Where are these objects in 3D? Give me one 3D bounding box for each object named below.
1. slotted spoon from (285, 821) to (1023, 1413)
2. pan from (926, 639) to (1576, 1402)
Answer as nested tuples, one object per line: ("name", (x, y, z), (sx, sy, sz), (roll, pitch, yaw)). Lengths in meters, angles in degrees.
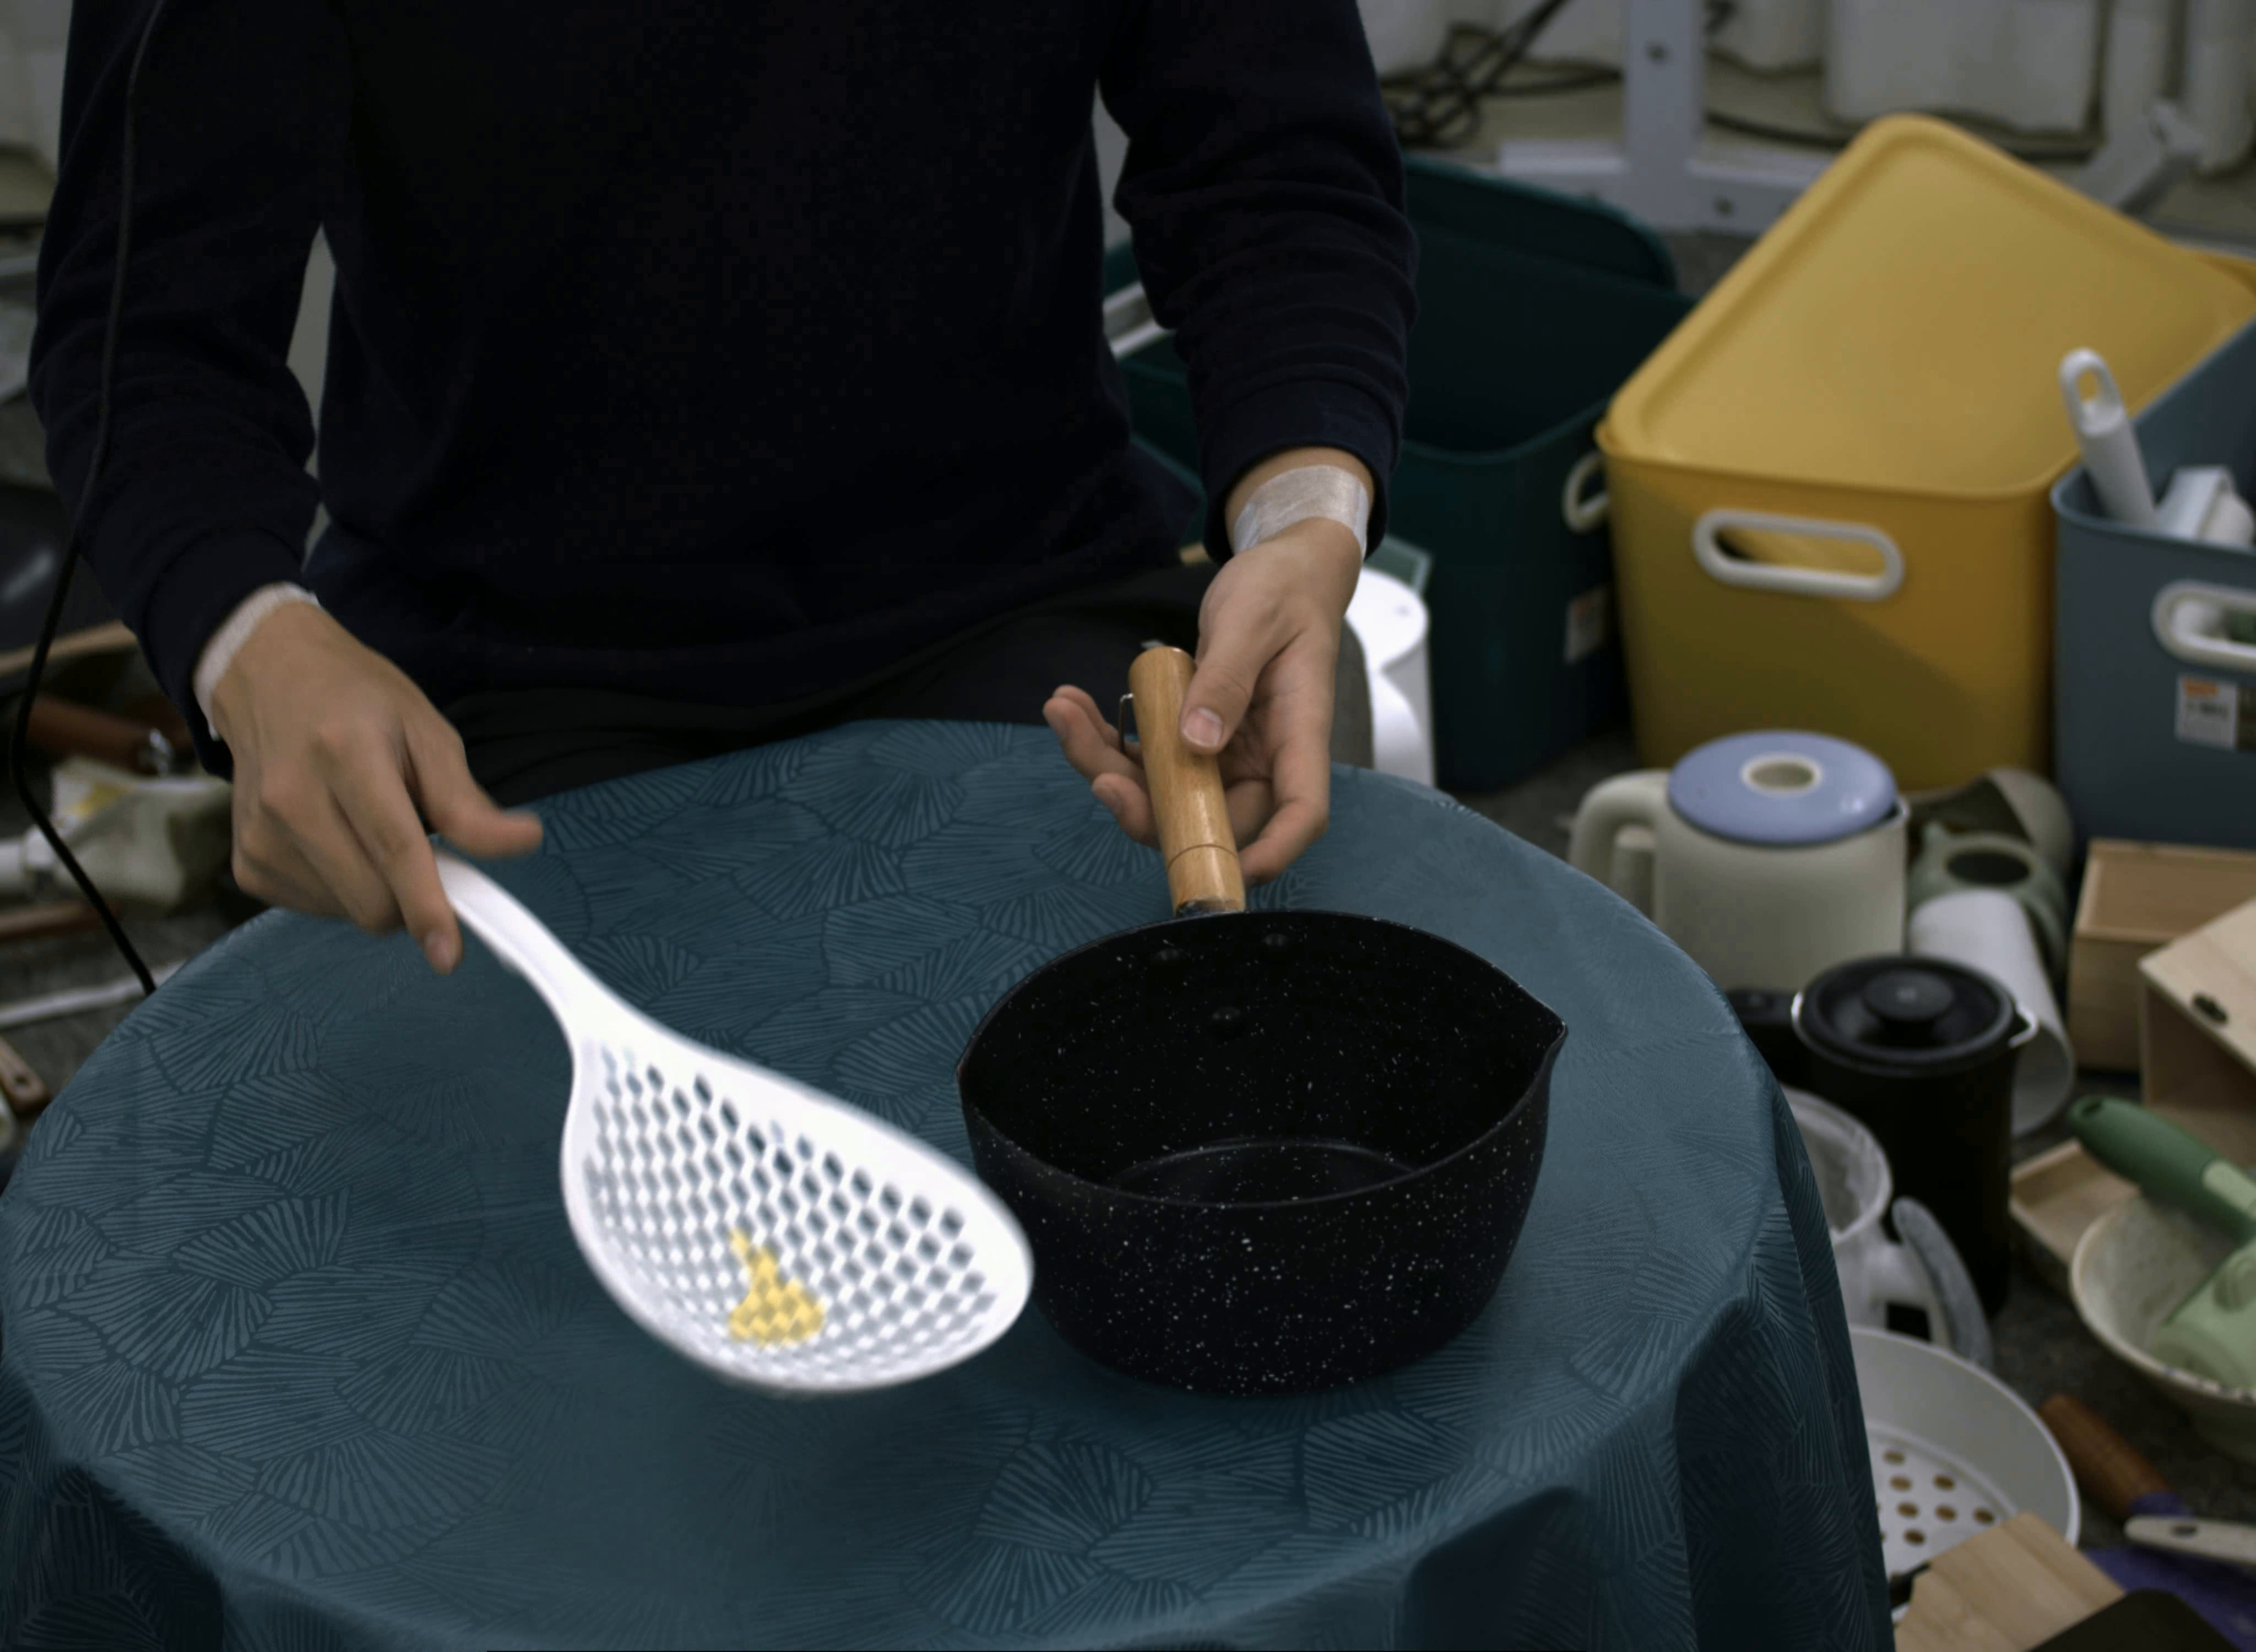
("slotted spoon", (-0.167, 0.081, 1.772), (0.138, 0.049, 0.350), (-13, 44, -36))
("pan", (0.031, 0.061, 1.861), (0.207, 0.107, 0.347), (-7, 29, -5))
